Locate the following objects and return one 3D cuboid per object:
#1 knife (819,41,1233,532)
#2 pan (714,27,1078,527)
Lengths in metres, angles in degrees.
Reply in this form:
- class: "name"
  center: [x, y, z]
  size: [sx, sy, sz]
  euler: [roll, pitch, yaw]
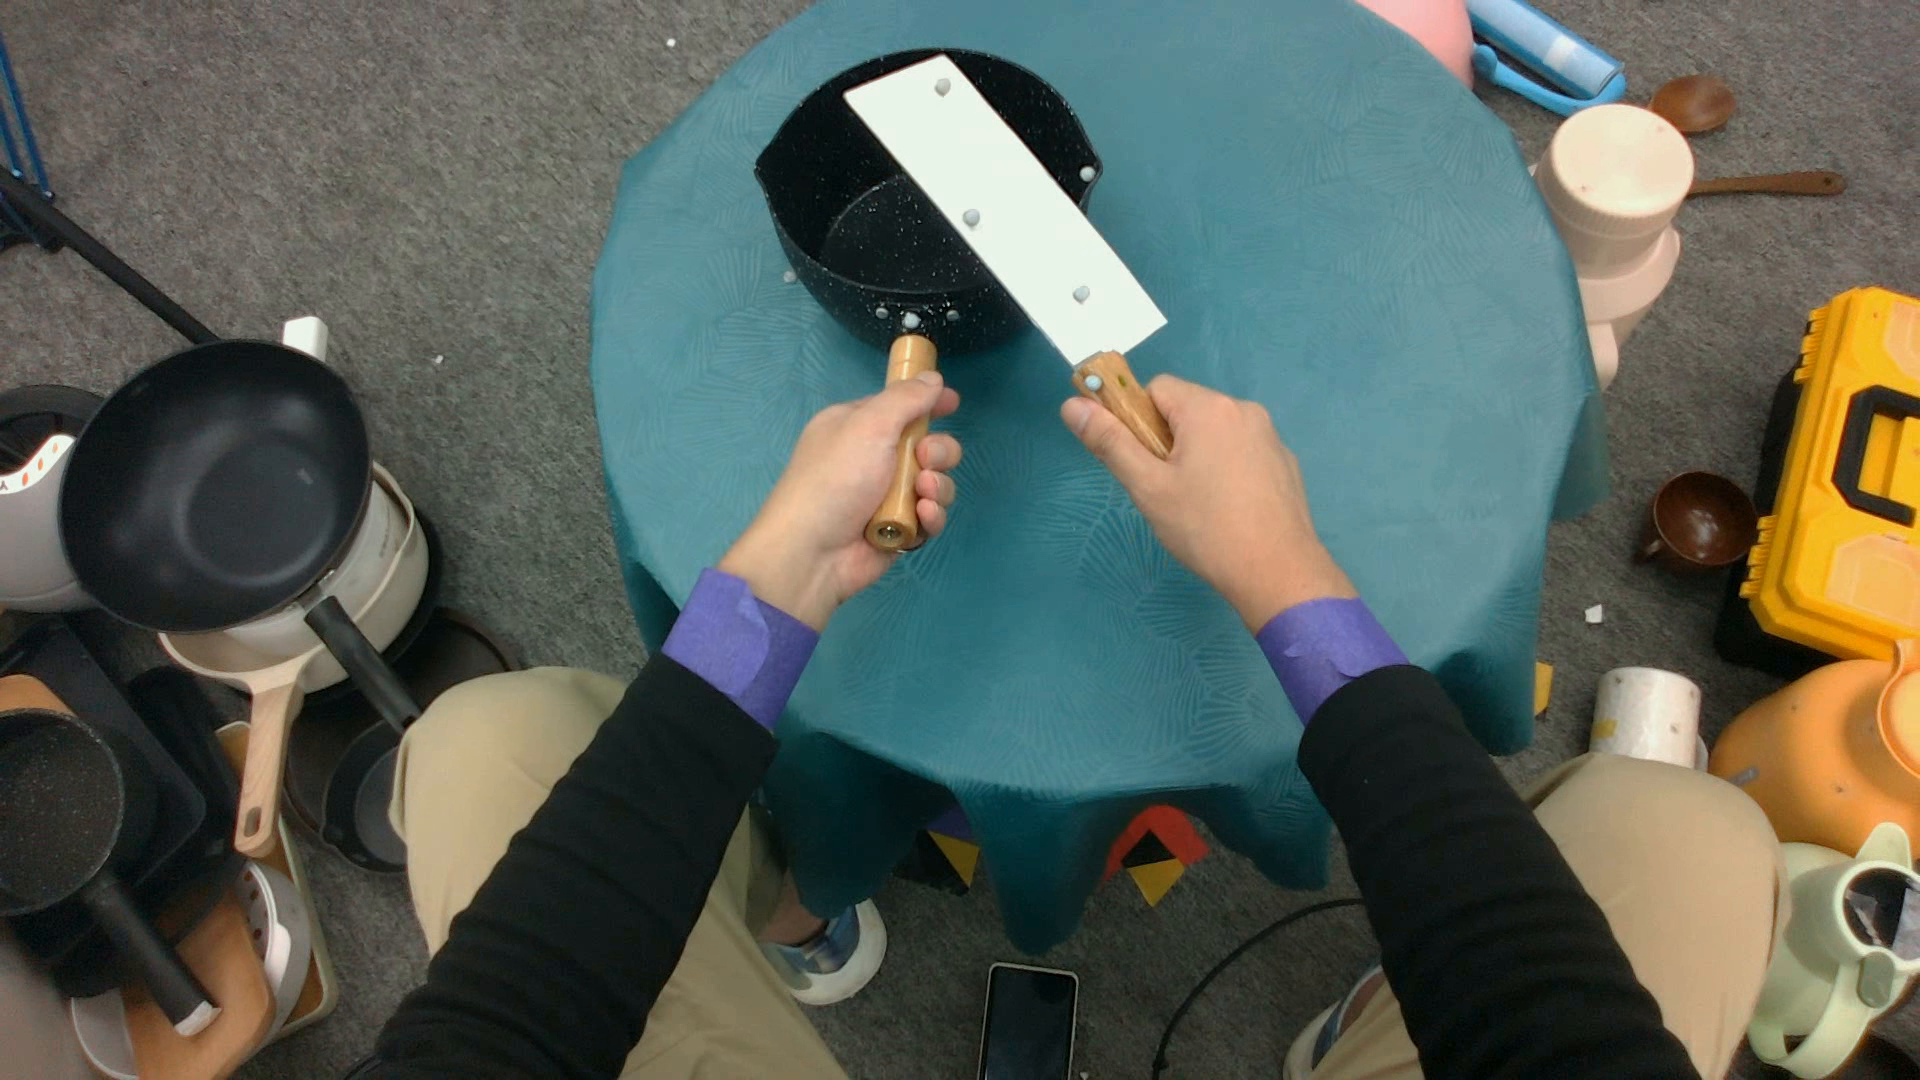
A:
- class: "knife"
  center: [0.047, -0.139, 0.720]
  size: [0.306, 0.021, 0.093]
  euler: [50, 46, 0]
- class: "pan"
  center: [-0.037, -0.140, 0.769]
  size: [0.207, 0.108, 0.344]
  euler: [0, 61, 3]
